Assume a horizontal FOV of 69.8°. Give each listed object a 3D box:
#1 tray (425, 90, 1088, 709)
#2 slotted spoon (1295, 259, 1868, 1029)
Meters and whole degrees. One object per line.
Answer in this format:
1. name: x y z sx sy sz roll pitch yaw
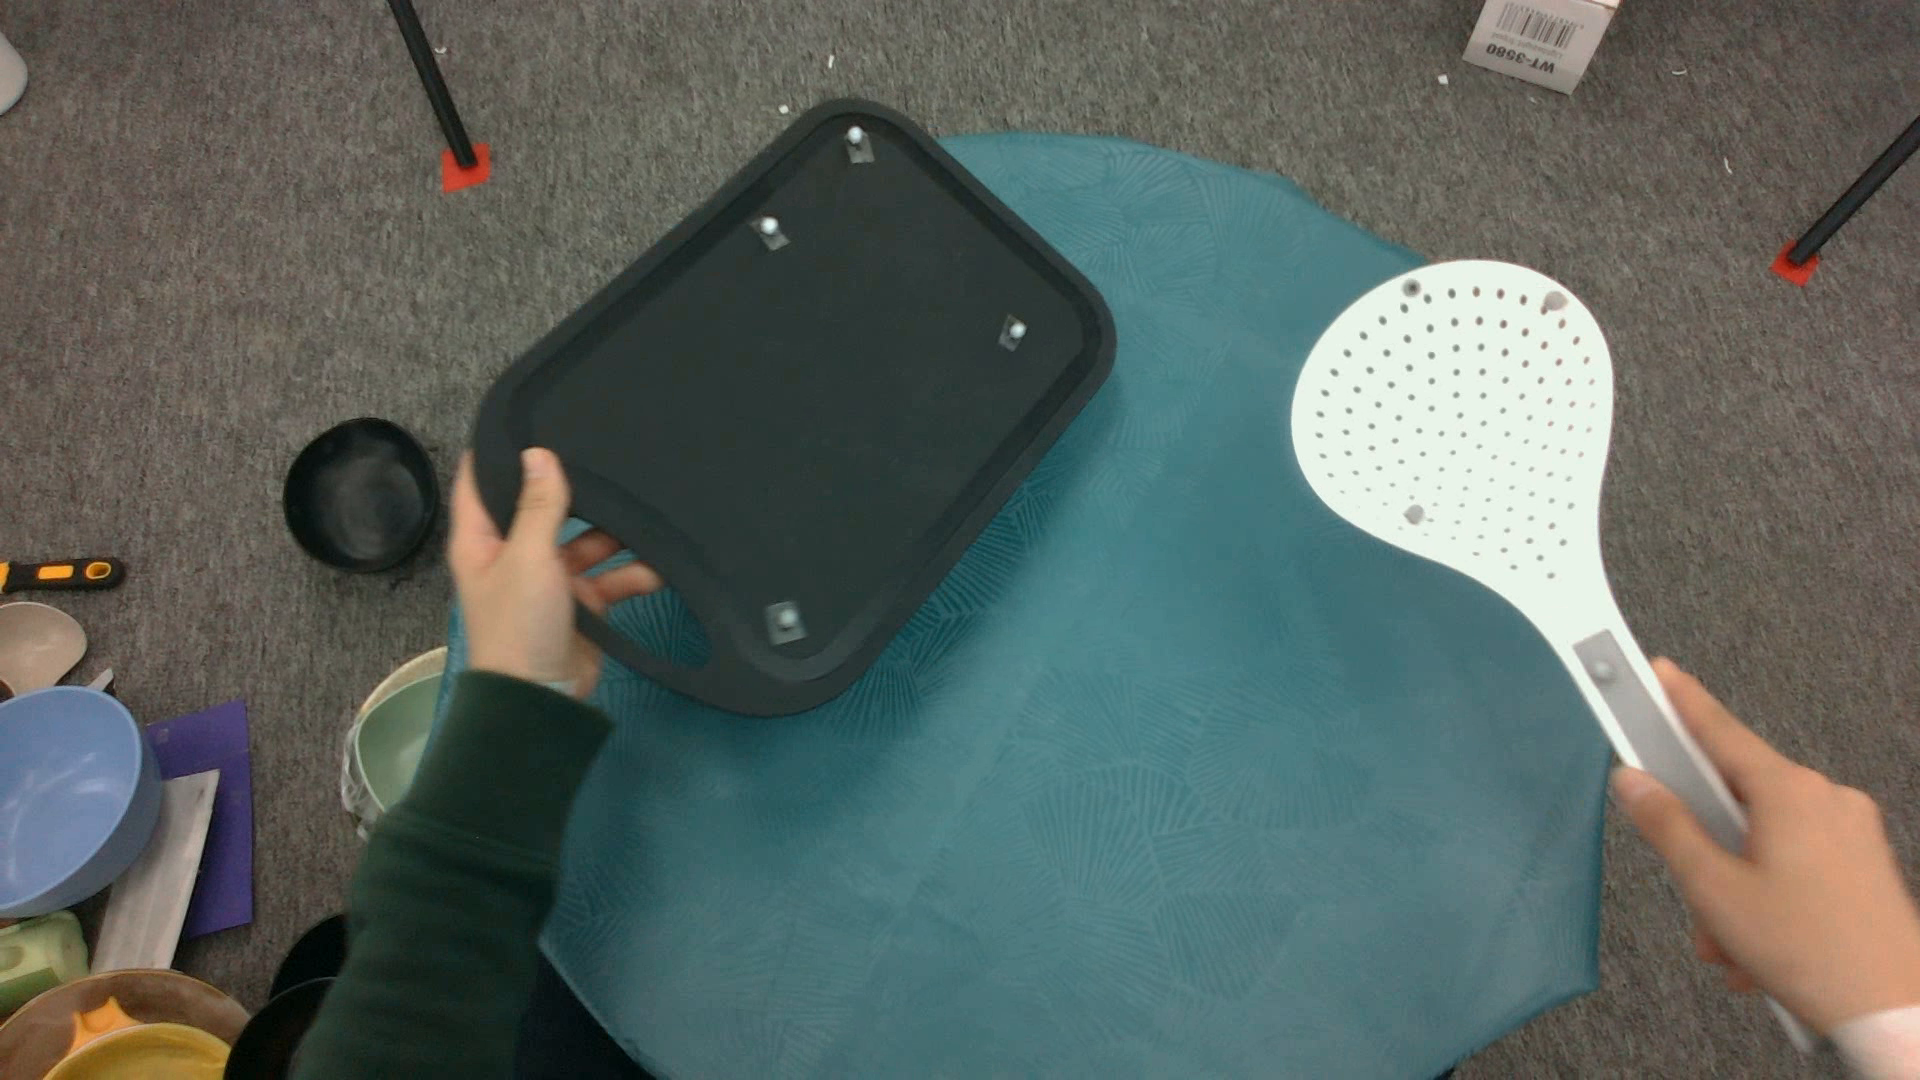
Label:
1. tray: -0.083 -0.076 0.651 0.211 0.010 0.327 43 60 -3
2. slotted spoon: 0.246 0.023 0.557 0.135 0.046 0.351 -33 48 20
